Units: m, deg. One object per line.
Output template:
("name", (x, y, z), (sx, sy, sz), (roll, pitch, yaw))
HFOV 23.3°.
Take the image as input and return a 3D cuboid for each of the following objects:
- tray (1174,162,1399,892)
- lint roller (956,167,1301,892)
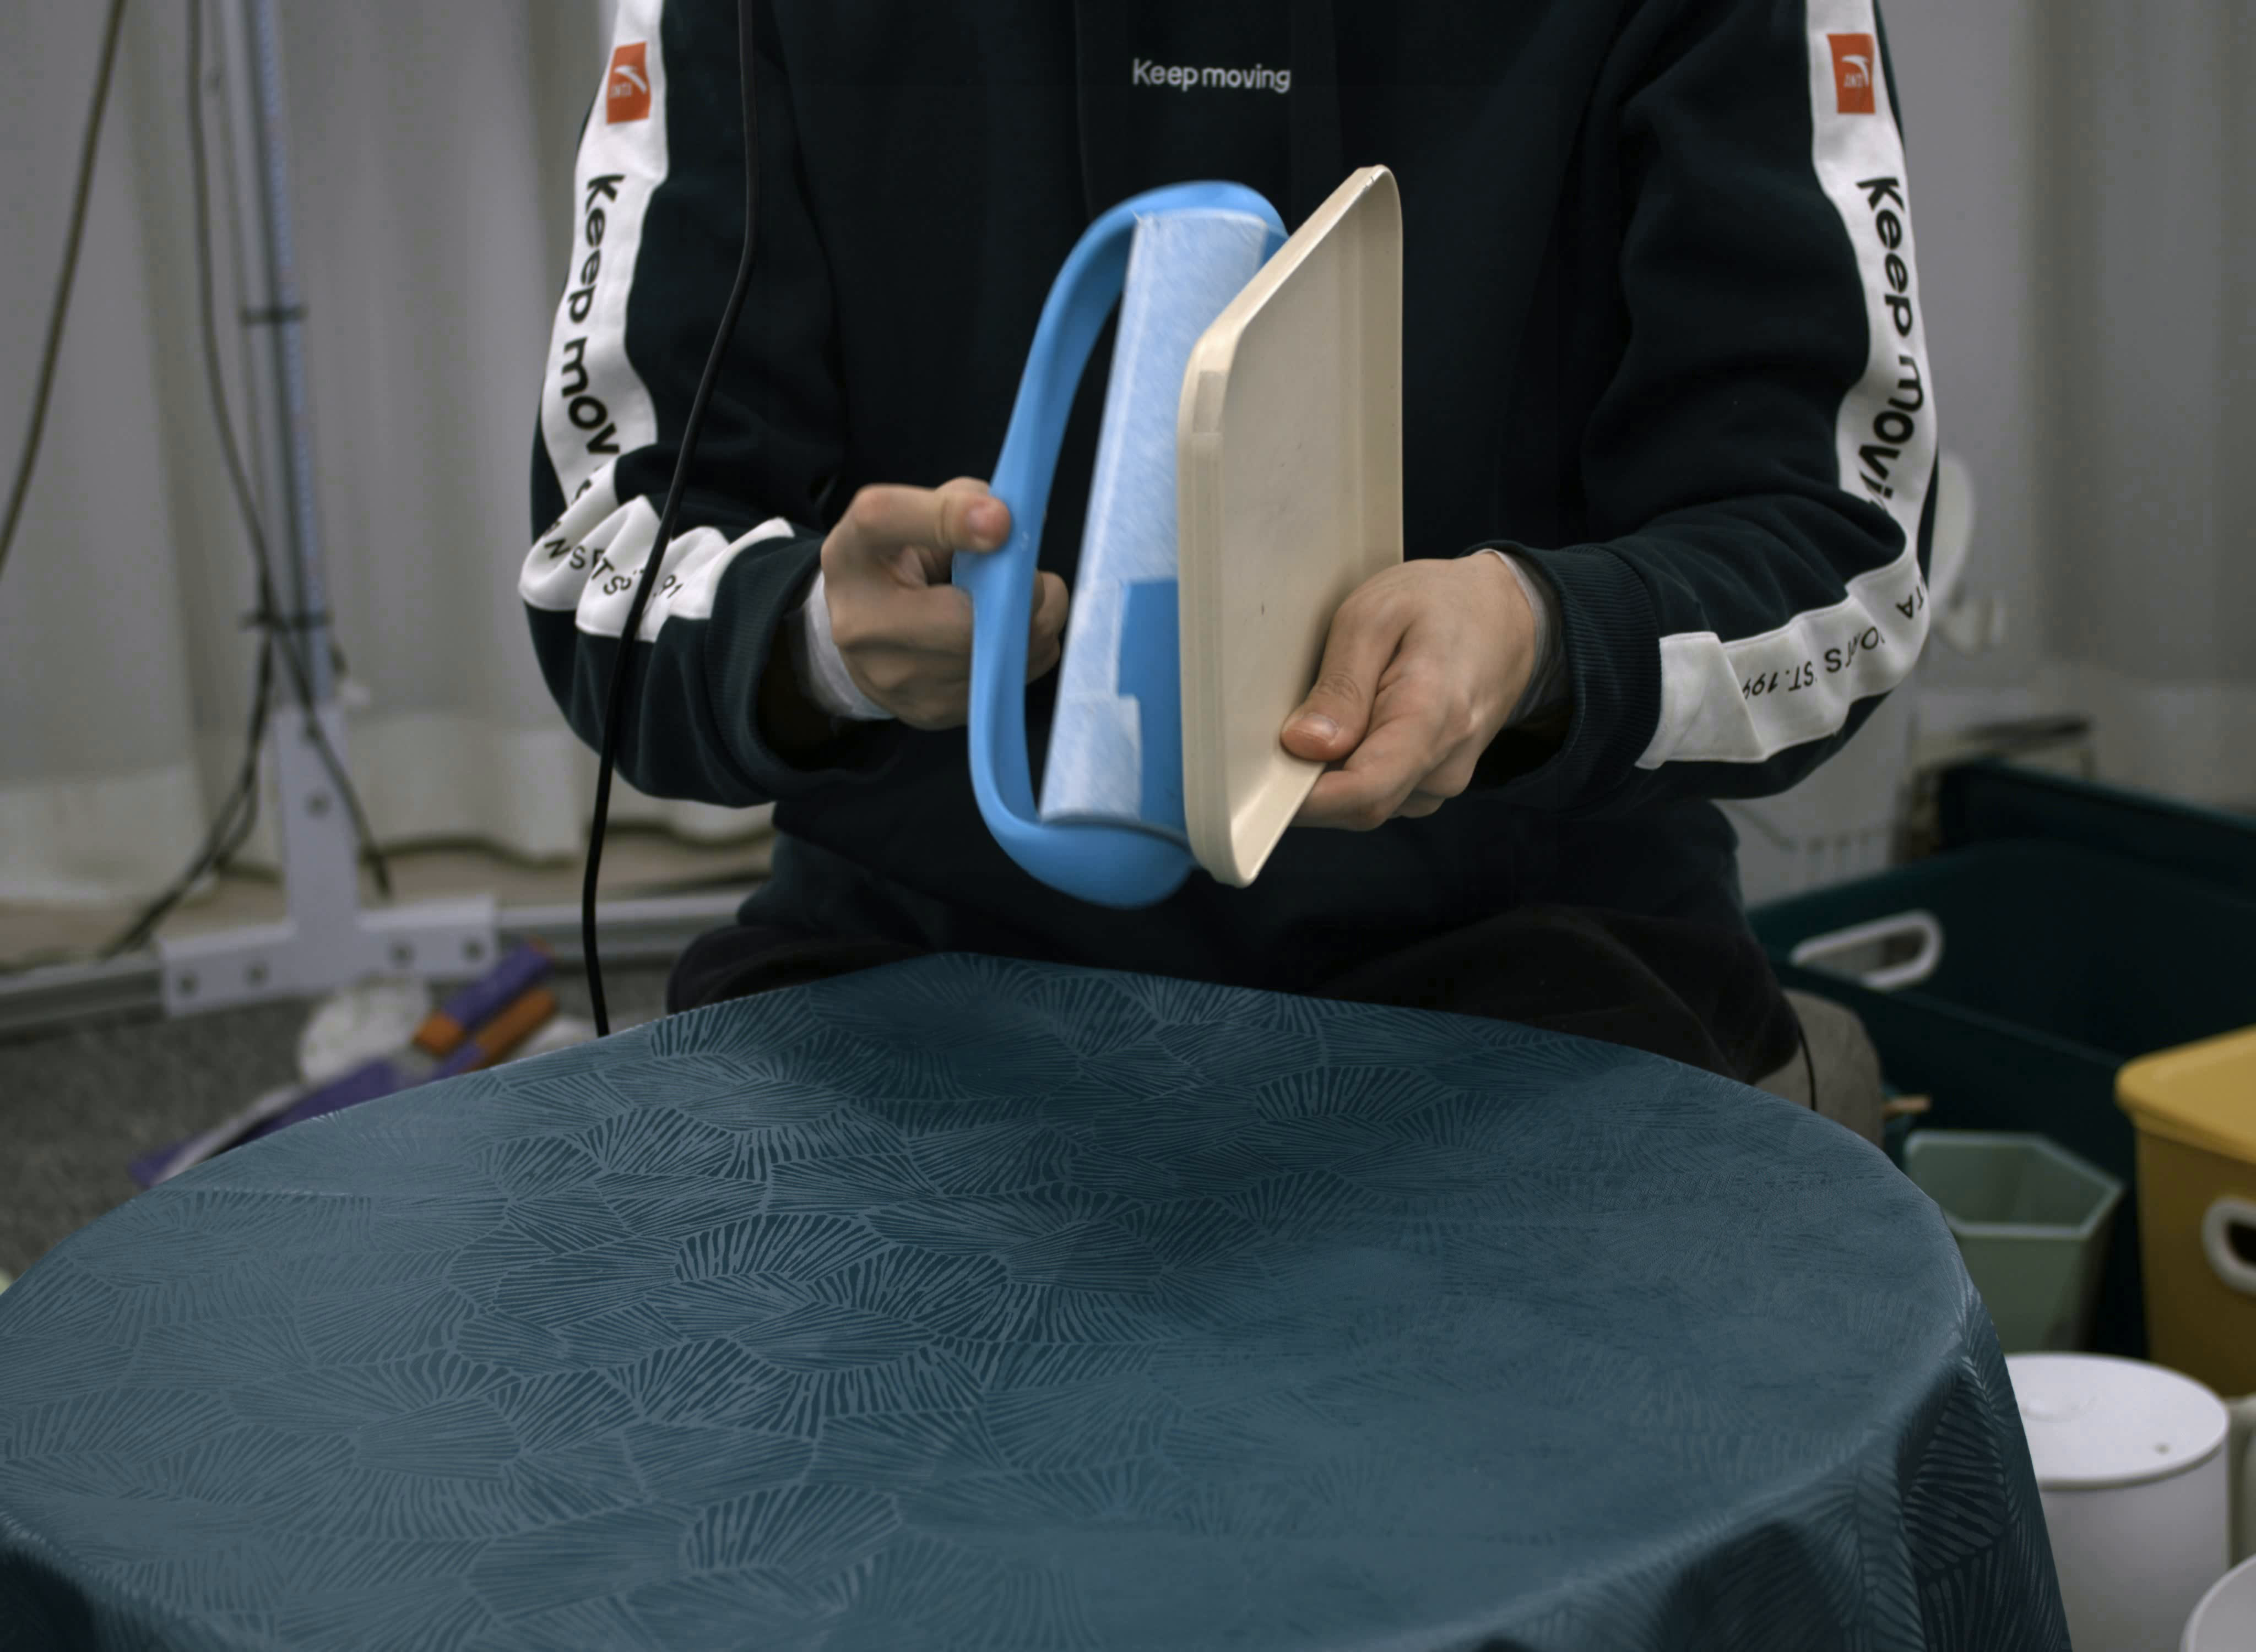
("tray", (0.048, -0.094, 1.639), (0.017, 0.170, 0.241), (4, 21, 14))
("lint roller", (-0.019, -0.079, 1.691), (0.067, 0.231, 0.180), (17, -21, -28))
